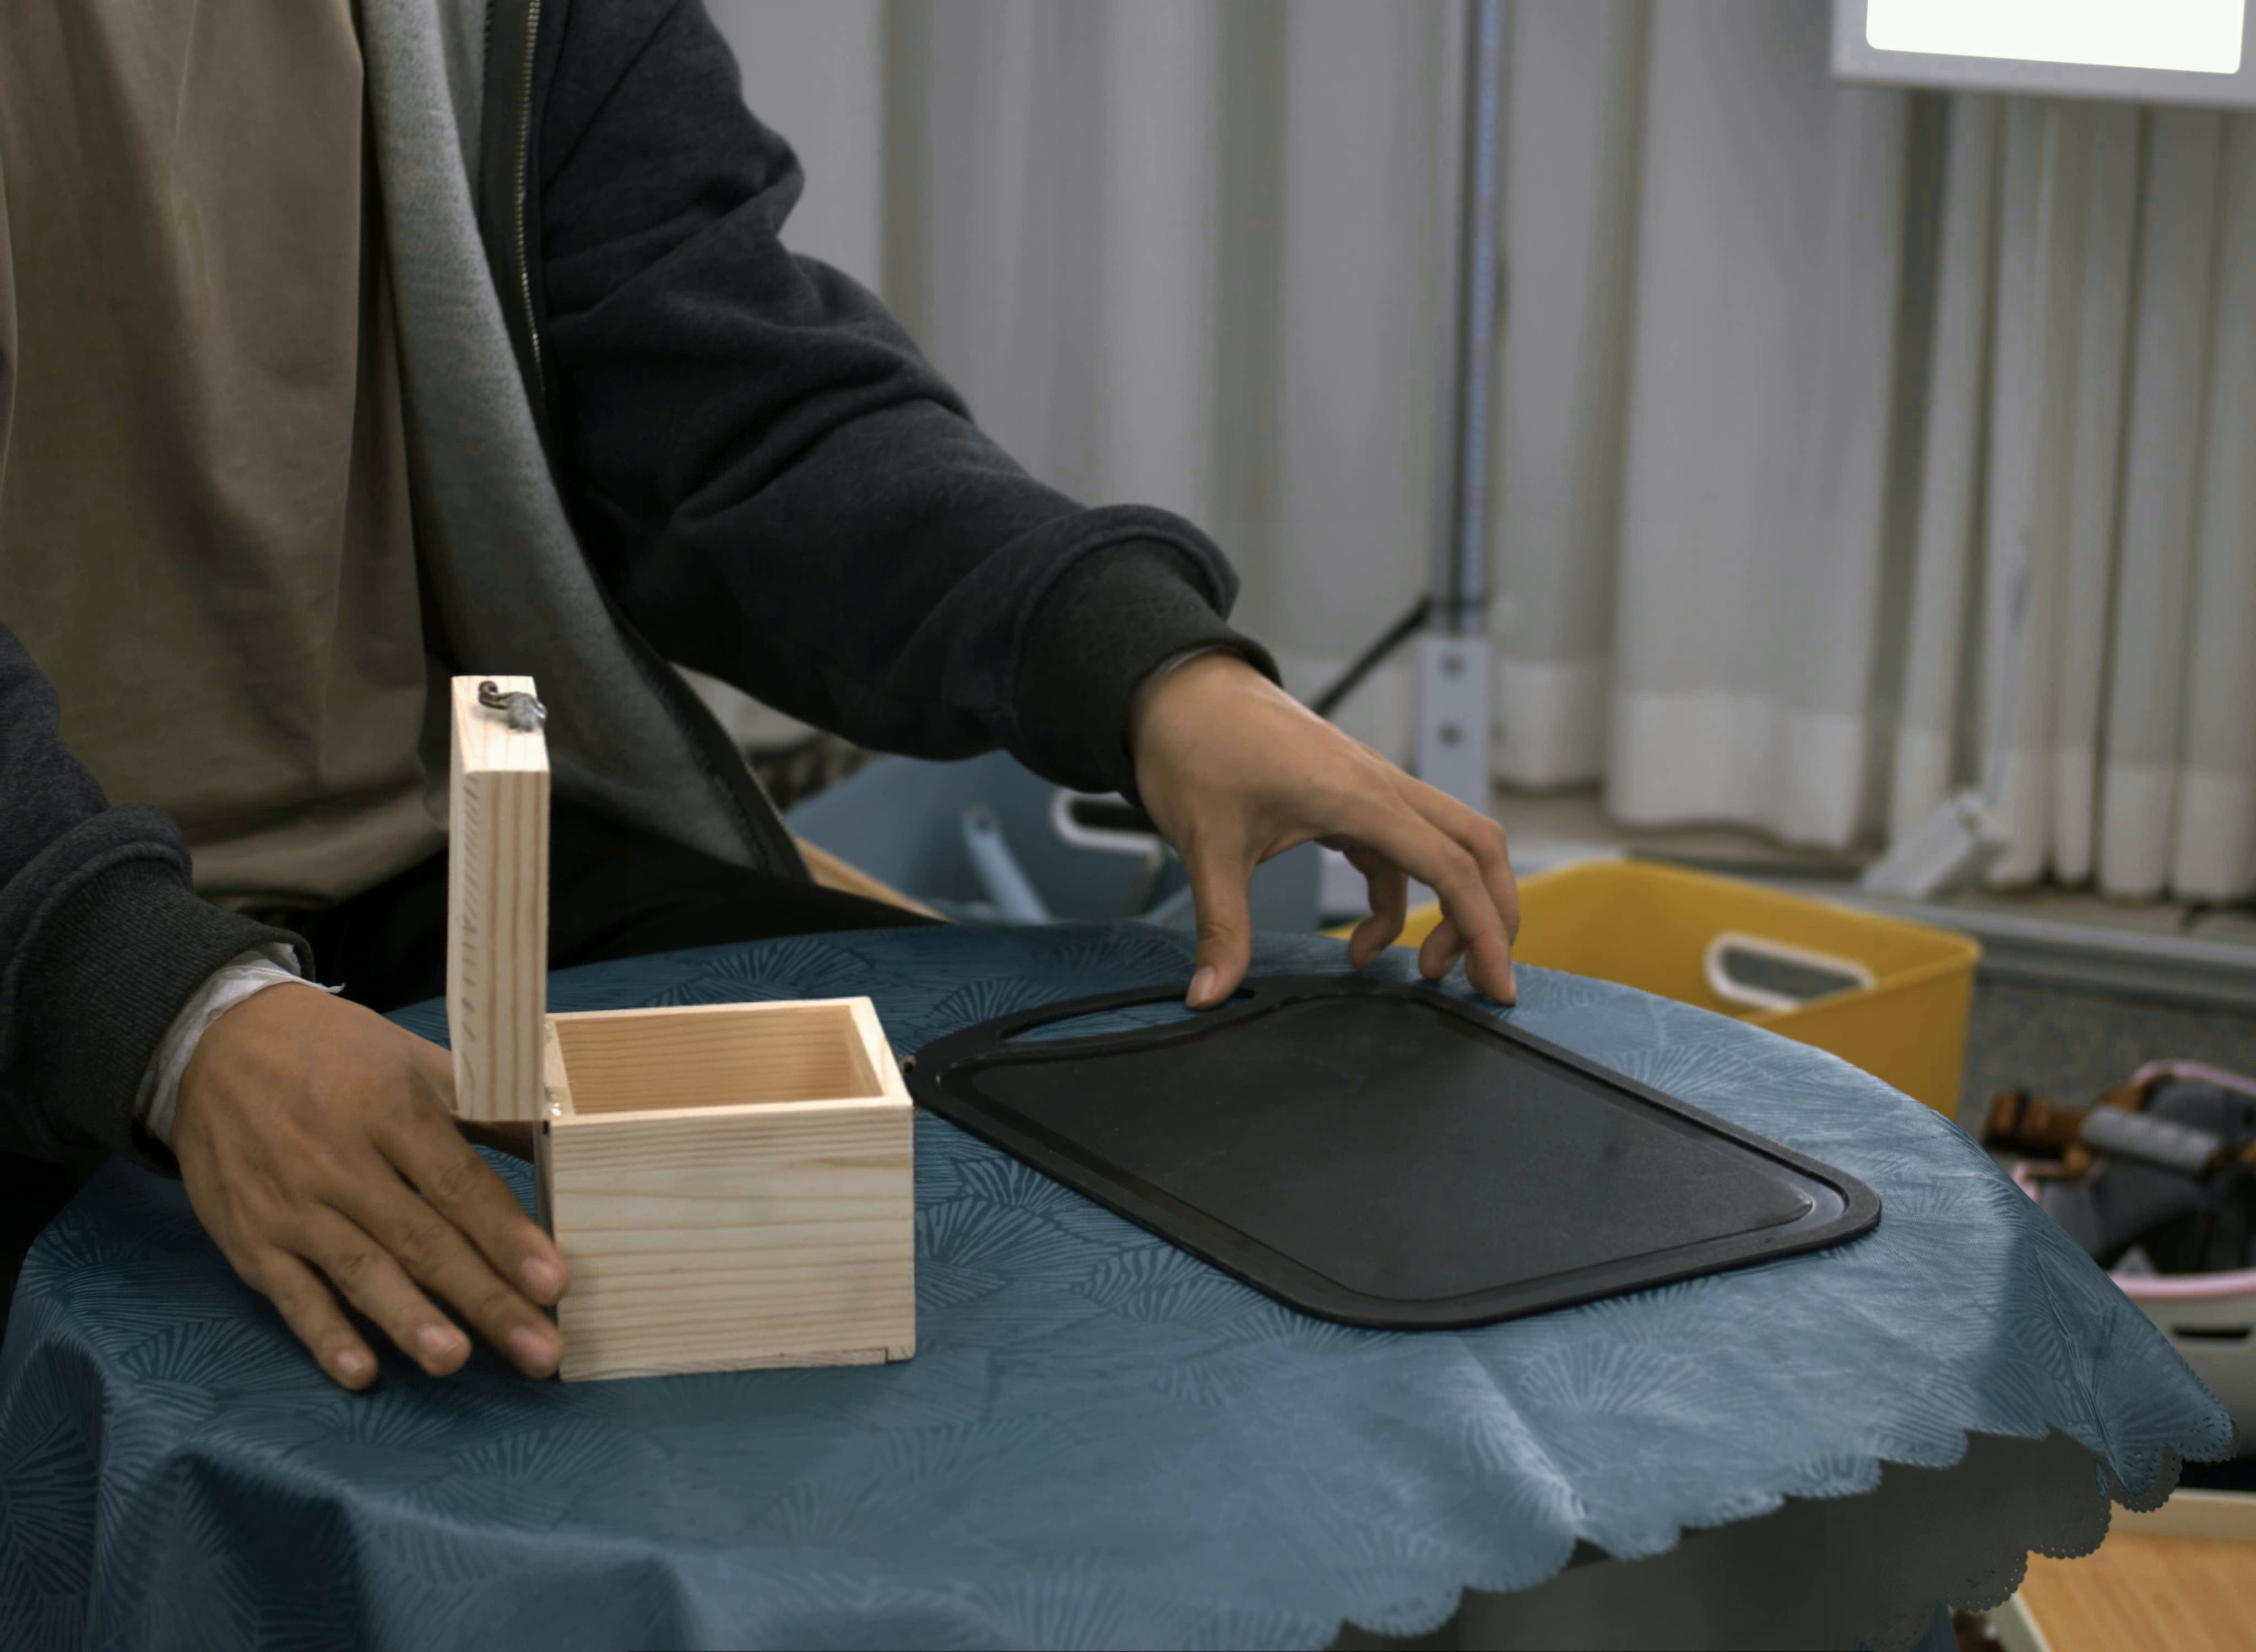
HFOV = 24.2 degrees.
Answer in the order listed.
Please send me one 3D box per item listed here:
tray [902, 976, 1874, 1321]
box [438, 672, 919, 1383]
[{"bbox_3d":[0.071,0.095,1.675,0.212,0.010,0.321,-9,18,-31],"label":"tray"},{"bbox_3d":[-0.127,0.052,1.490,0.134,0.186,0.102,-4,17,-10],"label":"box"}]
